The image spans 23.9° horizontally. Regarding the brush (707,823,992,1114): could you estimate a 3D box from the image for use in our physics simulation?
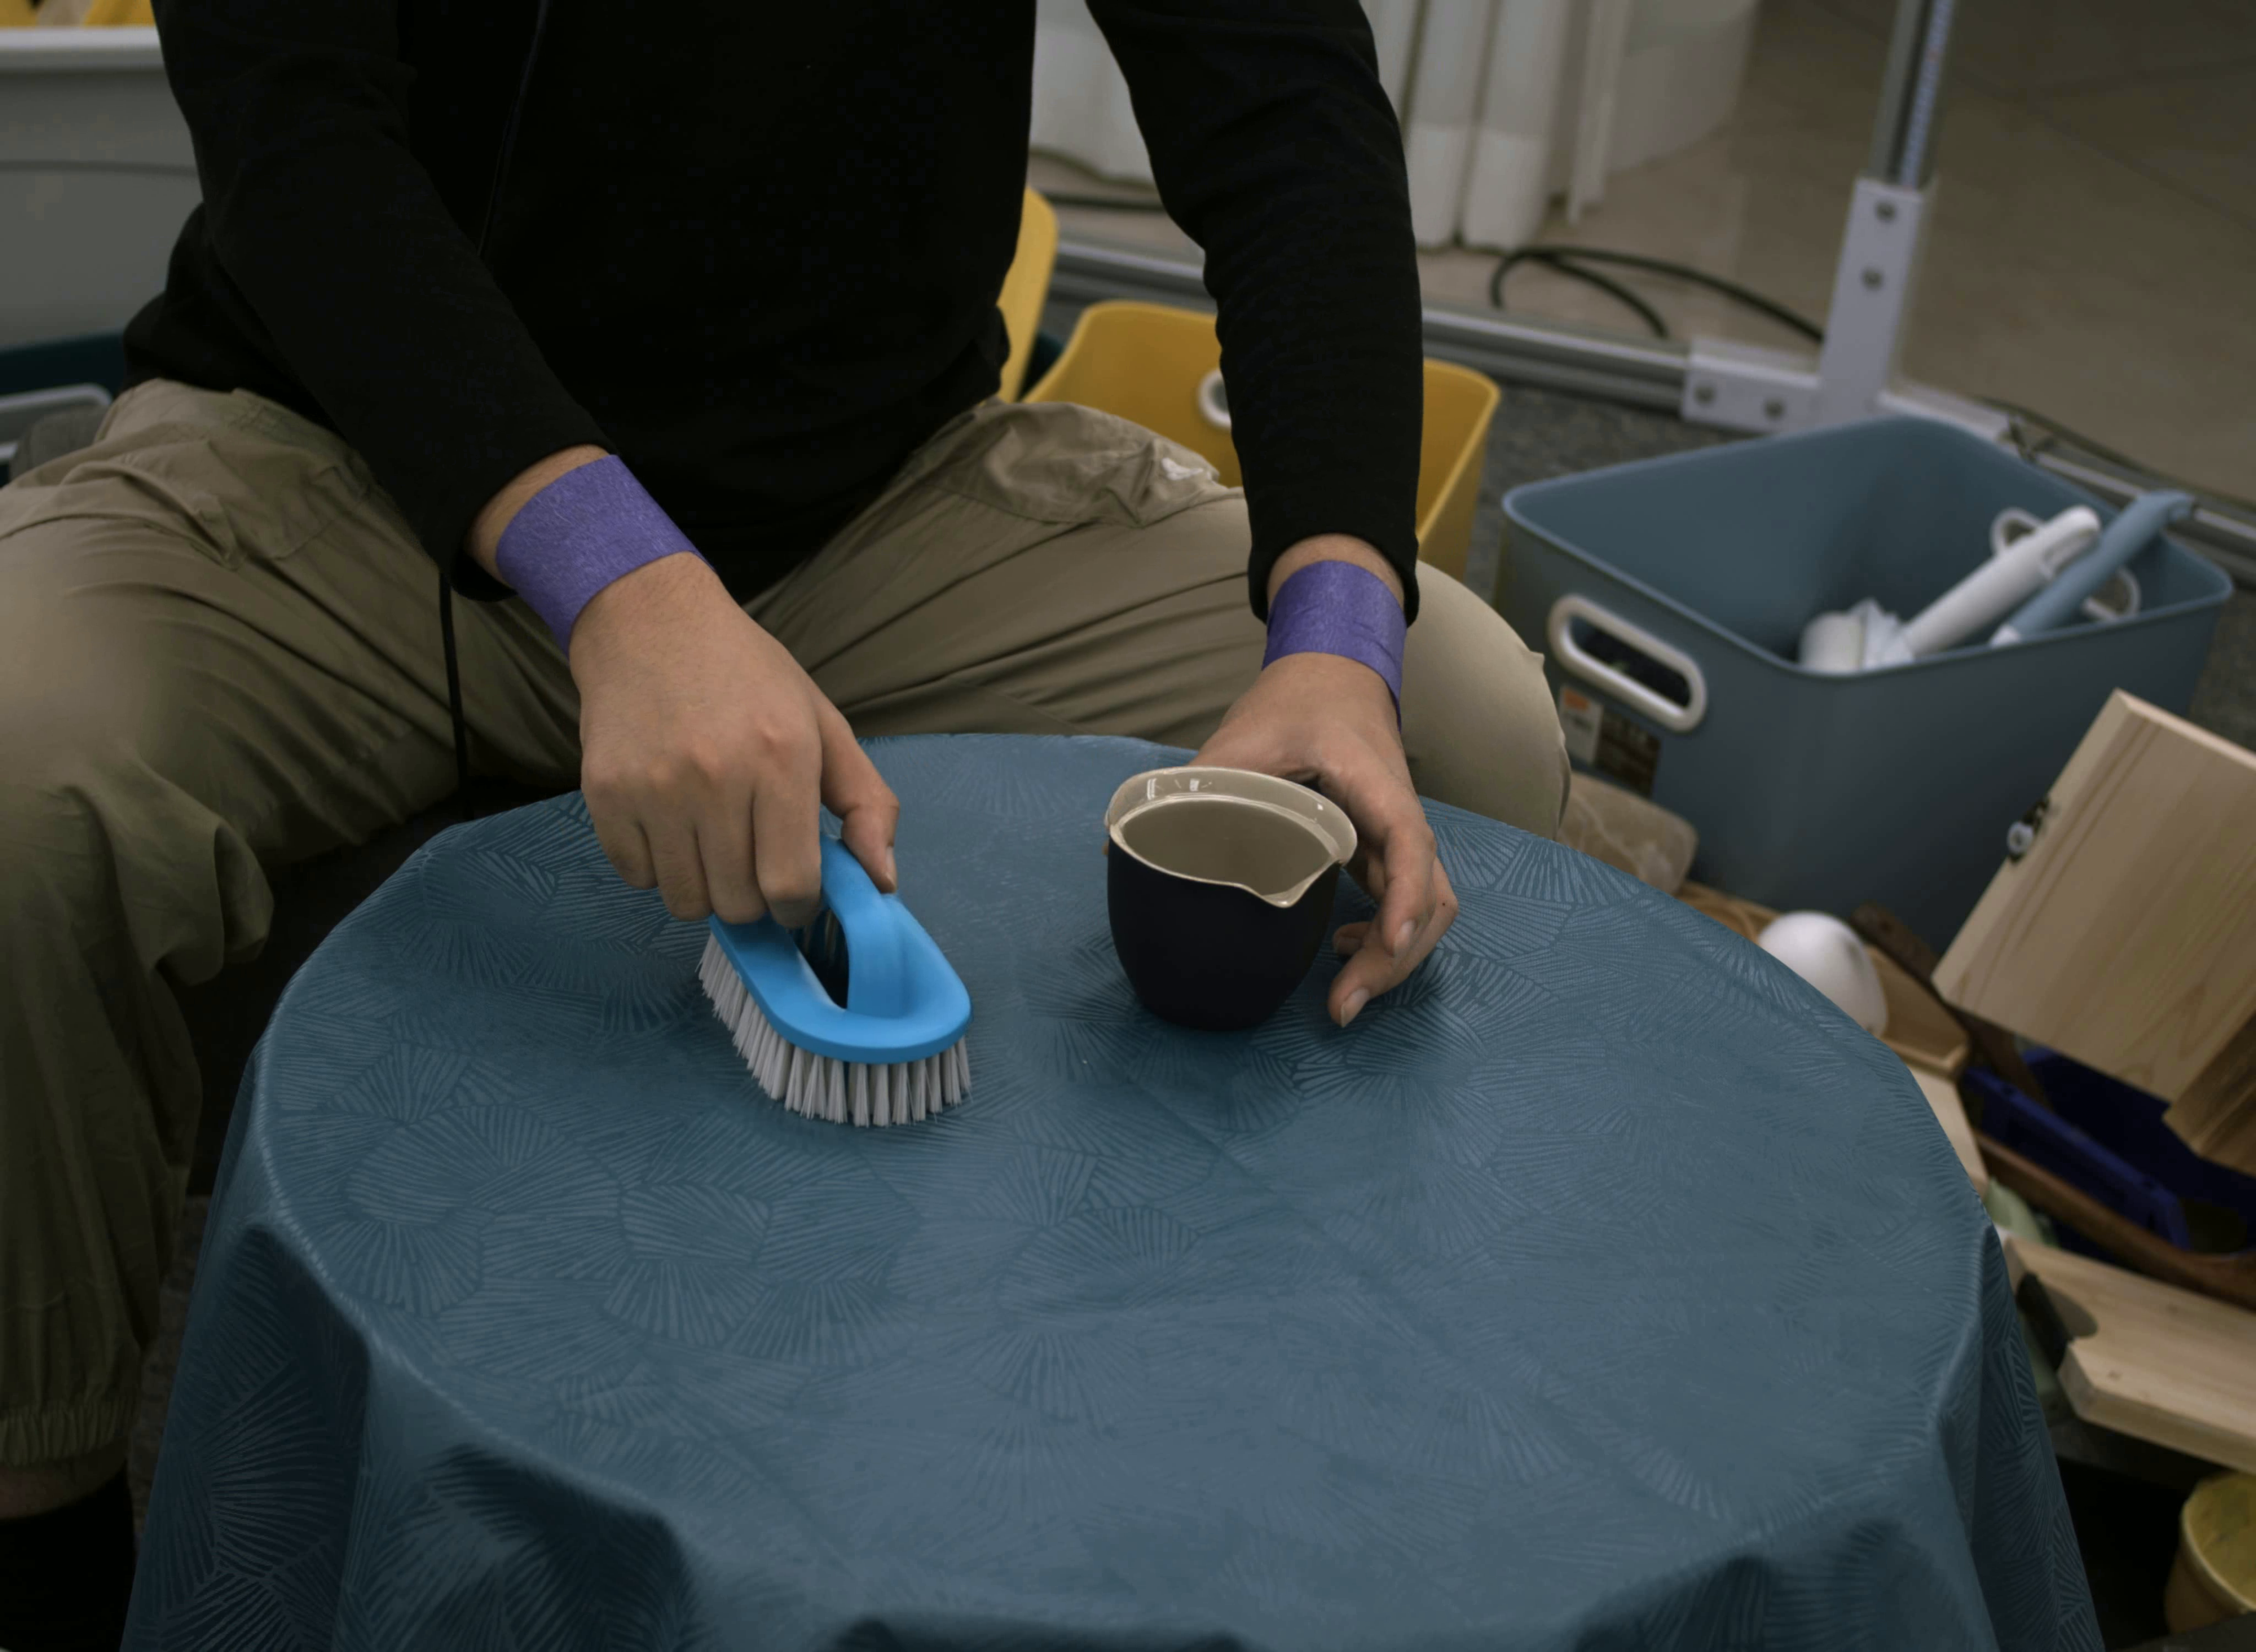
[{"bbox_3d":[-0.099,0.041,1.867,0.084,0.063,0.143,-7,29,-18],"label":"brush"}]

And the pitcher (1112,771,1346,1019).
[{"bbox_3d":[0.035,0.029,1.911,0.083,0.071,0.097,0,29,-16],"label":"pitcher"}]
